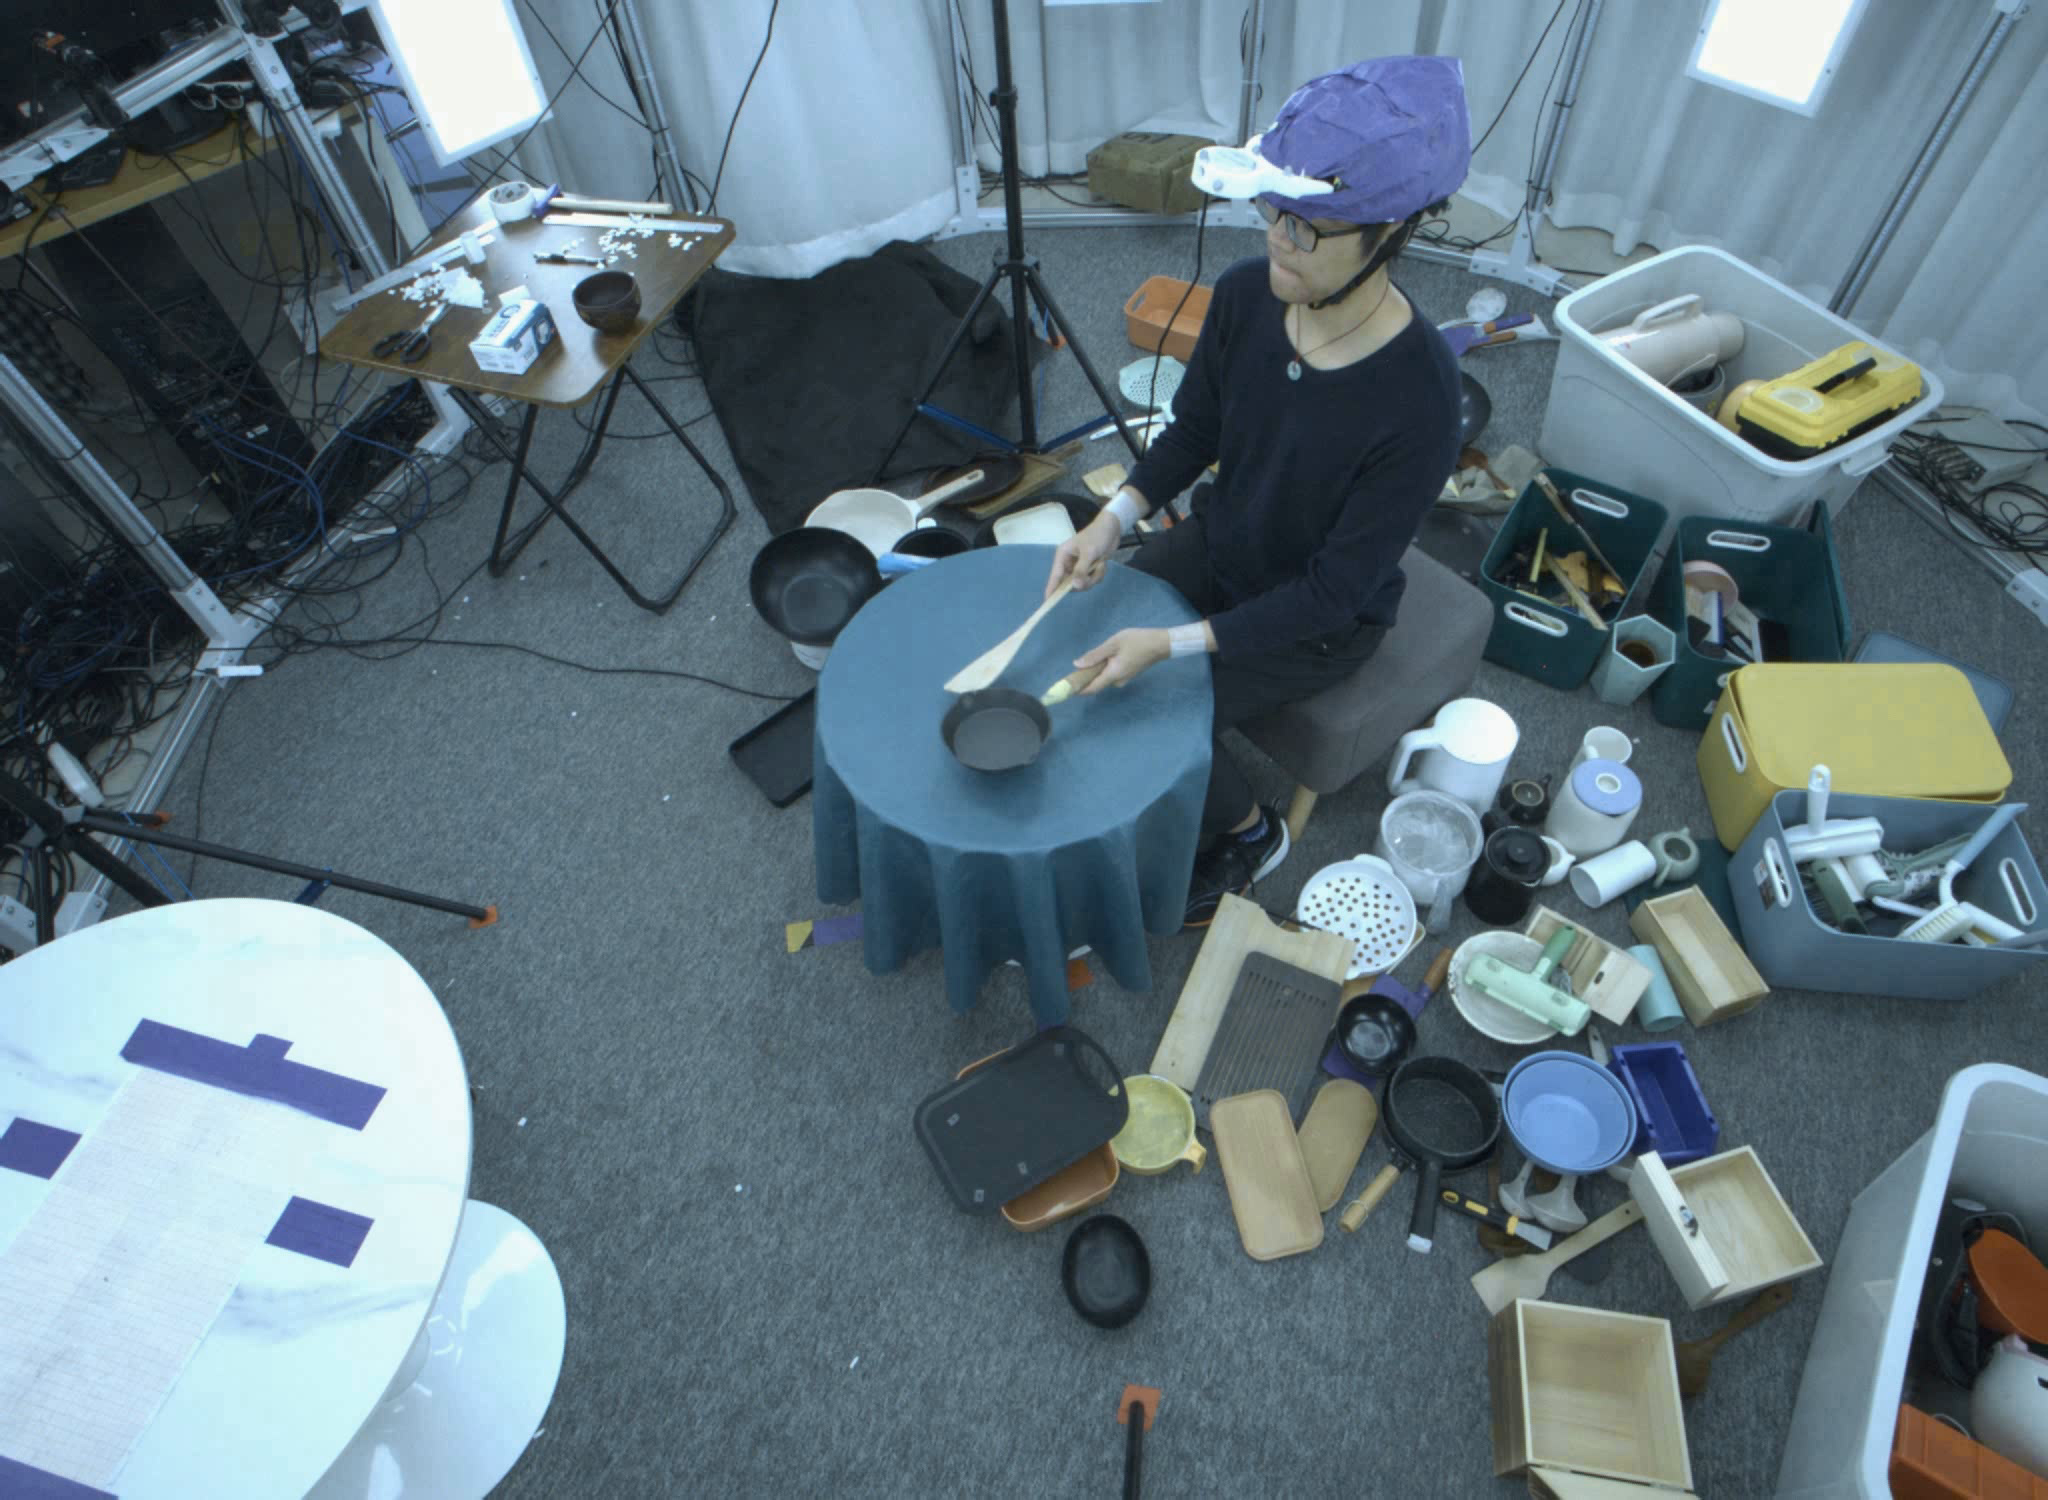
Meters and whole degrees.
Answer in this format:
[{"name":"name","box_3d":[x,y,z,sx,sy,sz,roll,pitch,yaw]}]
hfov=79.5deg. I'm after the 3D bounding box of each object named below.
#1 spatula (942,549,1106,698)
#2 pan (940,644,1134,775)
[{"name":"spatula","box_3d":[0.011,-0.191,1.832,0.328,0.017,0.078,-47,43,-14]},{"name":"pan","box_3d":[0.030,-0.066,1.753,0.327,0.050,0.165,-30,54,-21]}]
